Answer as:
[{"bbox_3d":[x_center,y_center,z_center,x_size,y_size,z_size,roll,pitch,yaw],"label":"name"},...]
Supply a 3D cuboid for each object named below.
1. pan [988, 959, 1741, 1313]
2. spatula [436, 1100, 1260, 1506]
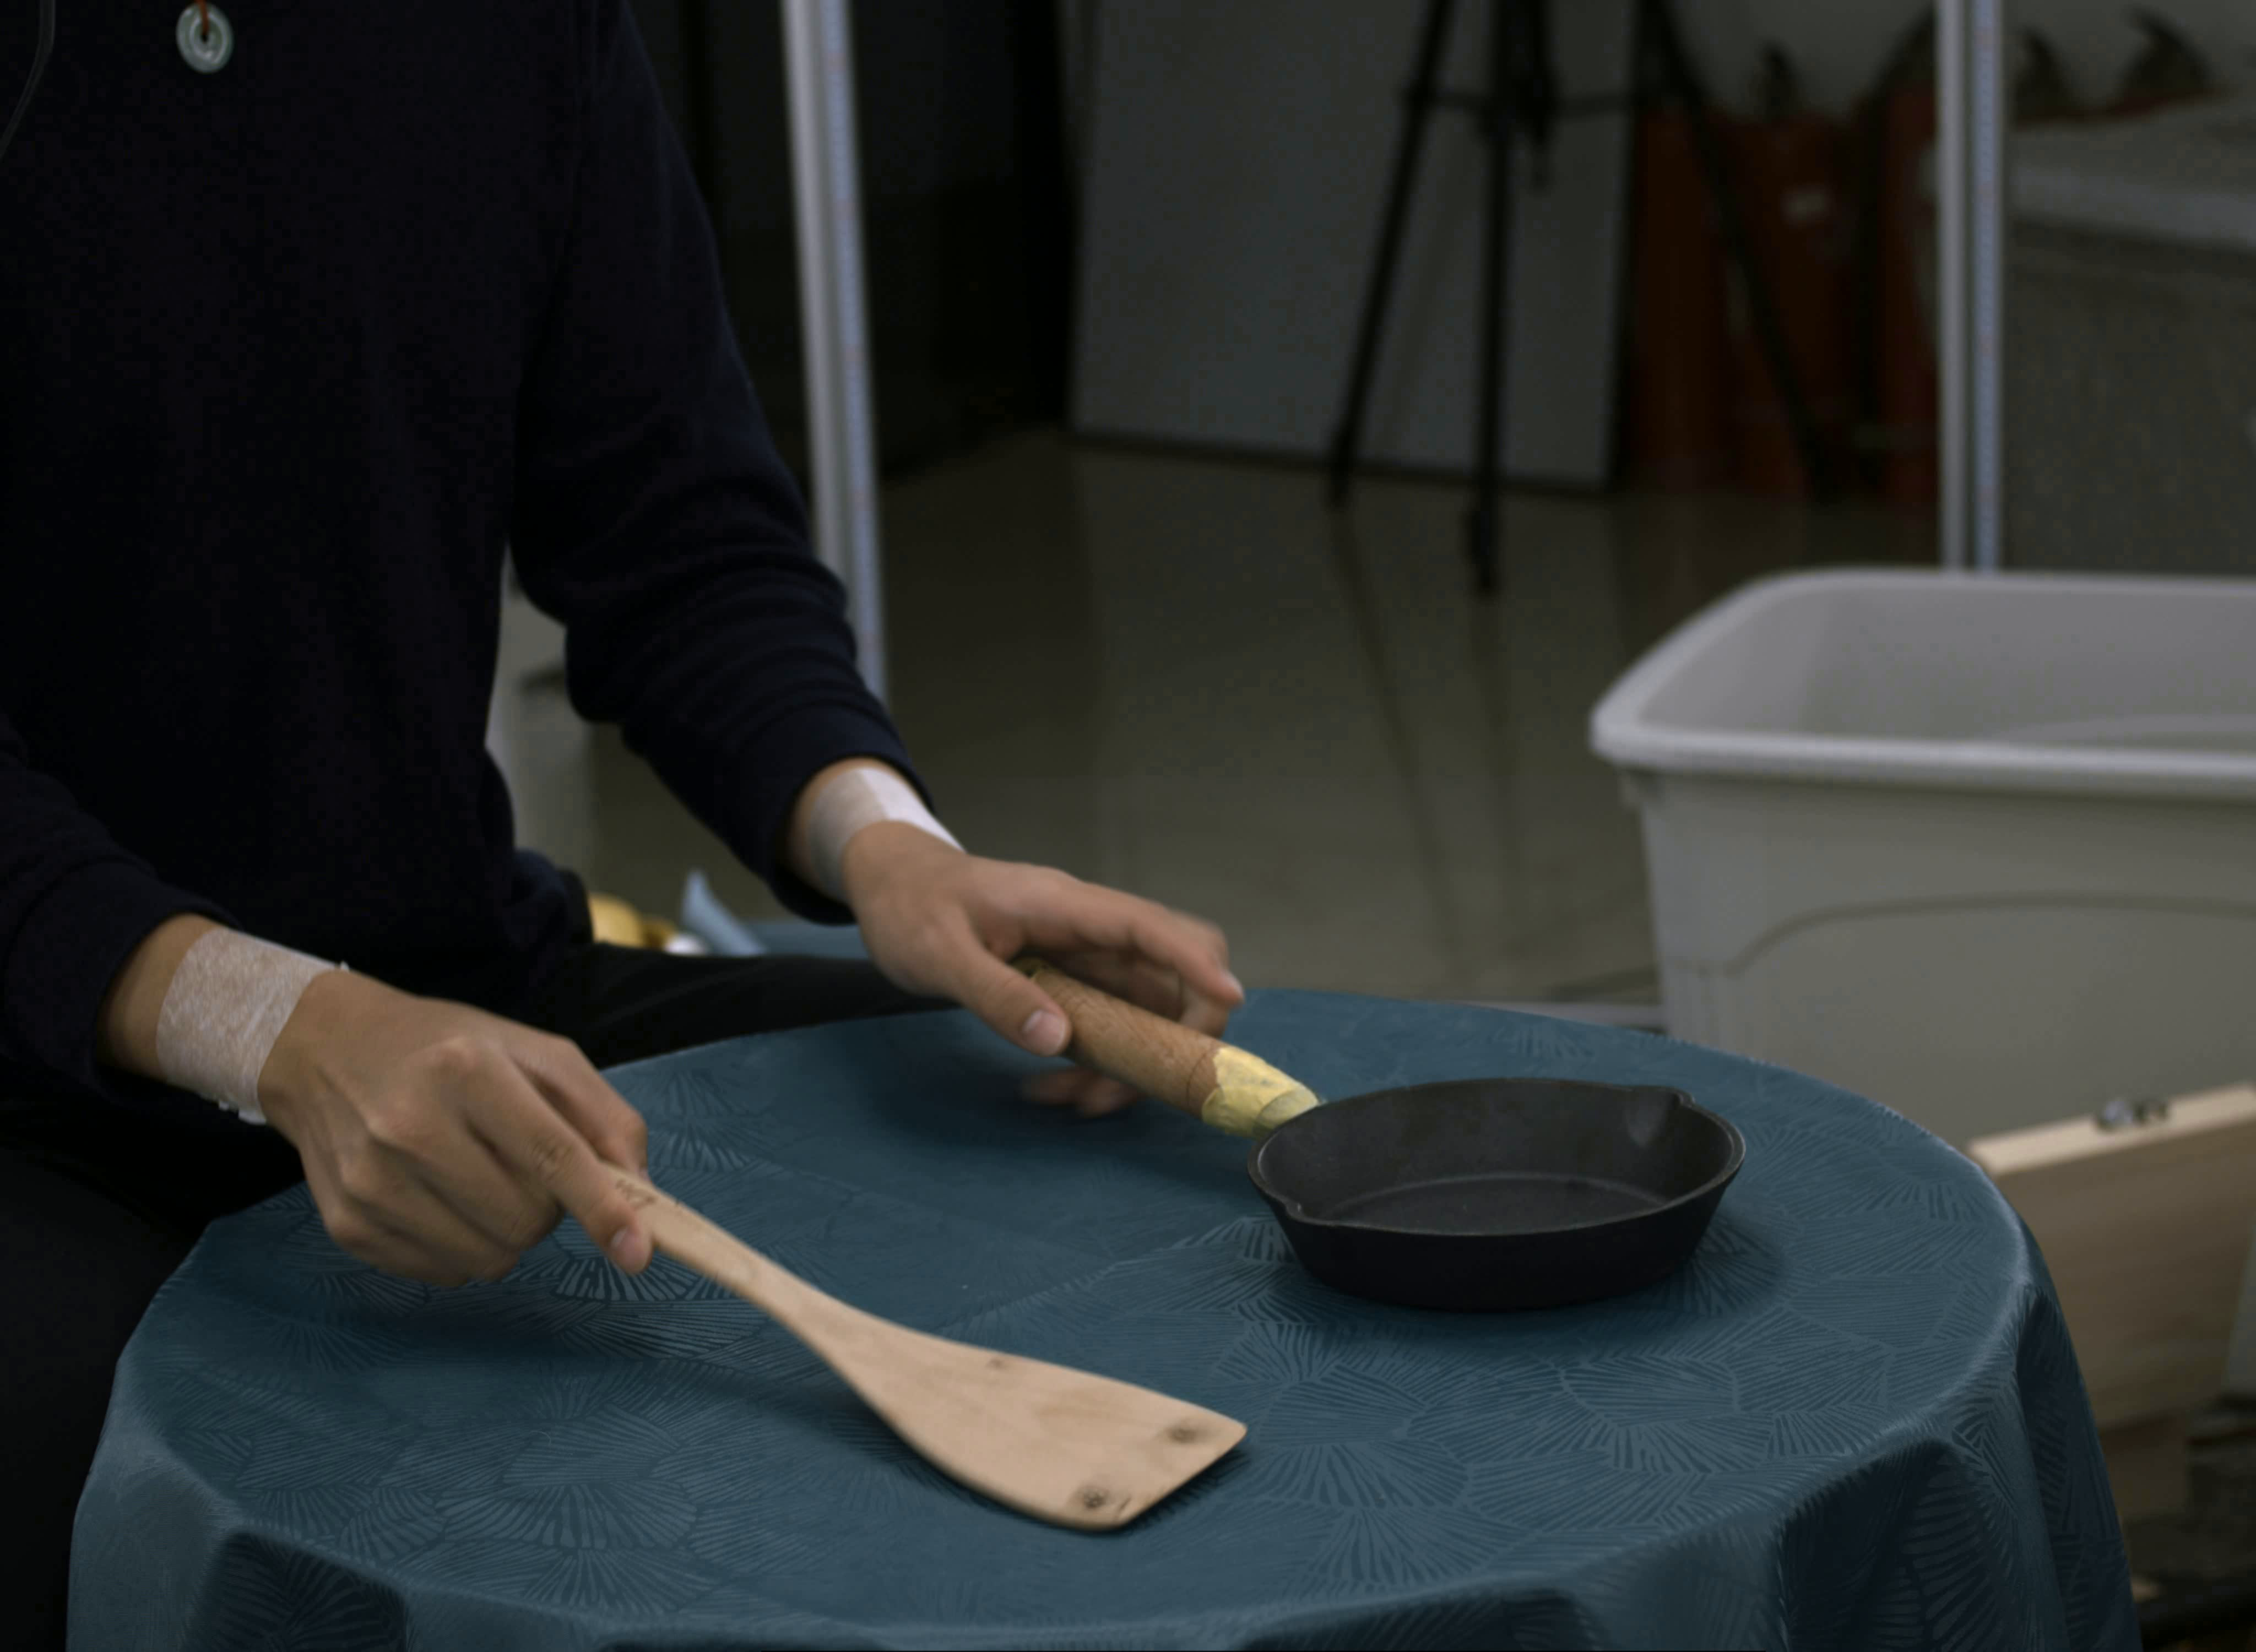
[{"bbox_3d":[0.062,0.096,1.749,0.165,0.050,0.327,-15,19,-37],"label":"pan"},{"bbox_3d":[-0.094,0.135,1.604,0.330,0.017,0.078,23,26,39],"label":"spatula"}]
